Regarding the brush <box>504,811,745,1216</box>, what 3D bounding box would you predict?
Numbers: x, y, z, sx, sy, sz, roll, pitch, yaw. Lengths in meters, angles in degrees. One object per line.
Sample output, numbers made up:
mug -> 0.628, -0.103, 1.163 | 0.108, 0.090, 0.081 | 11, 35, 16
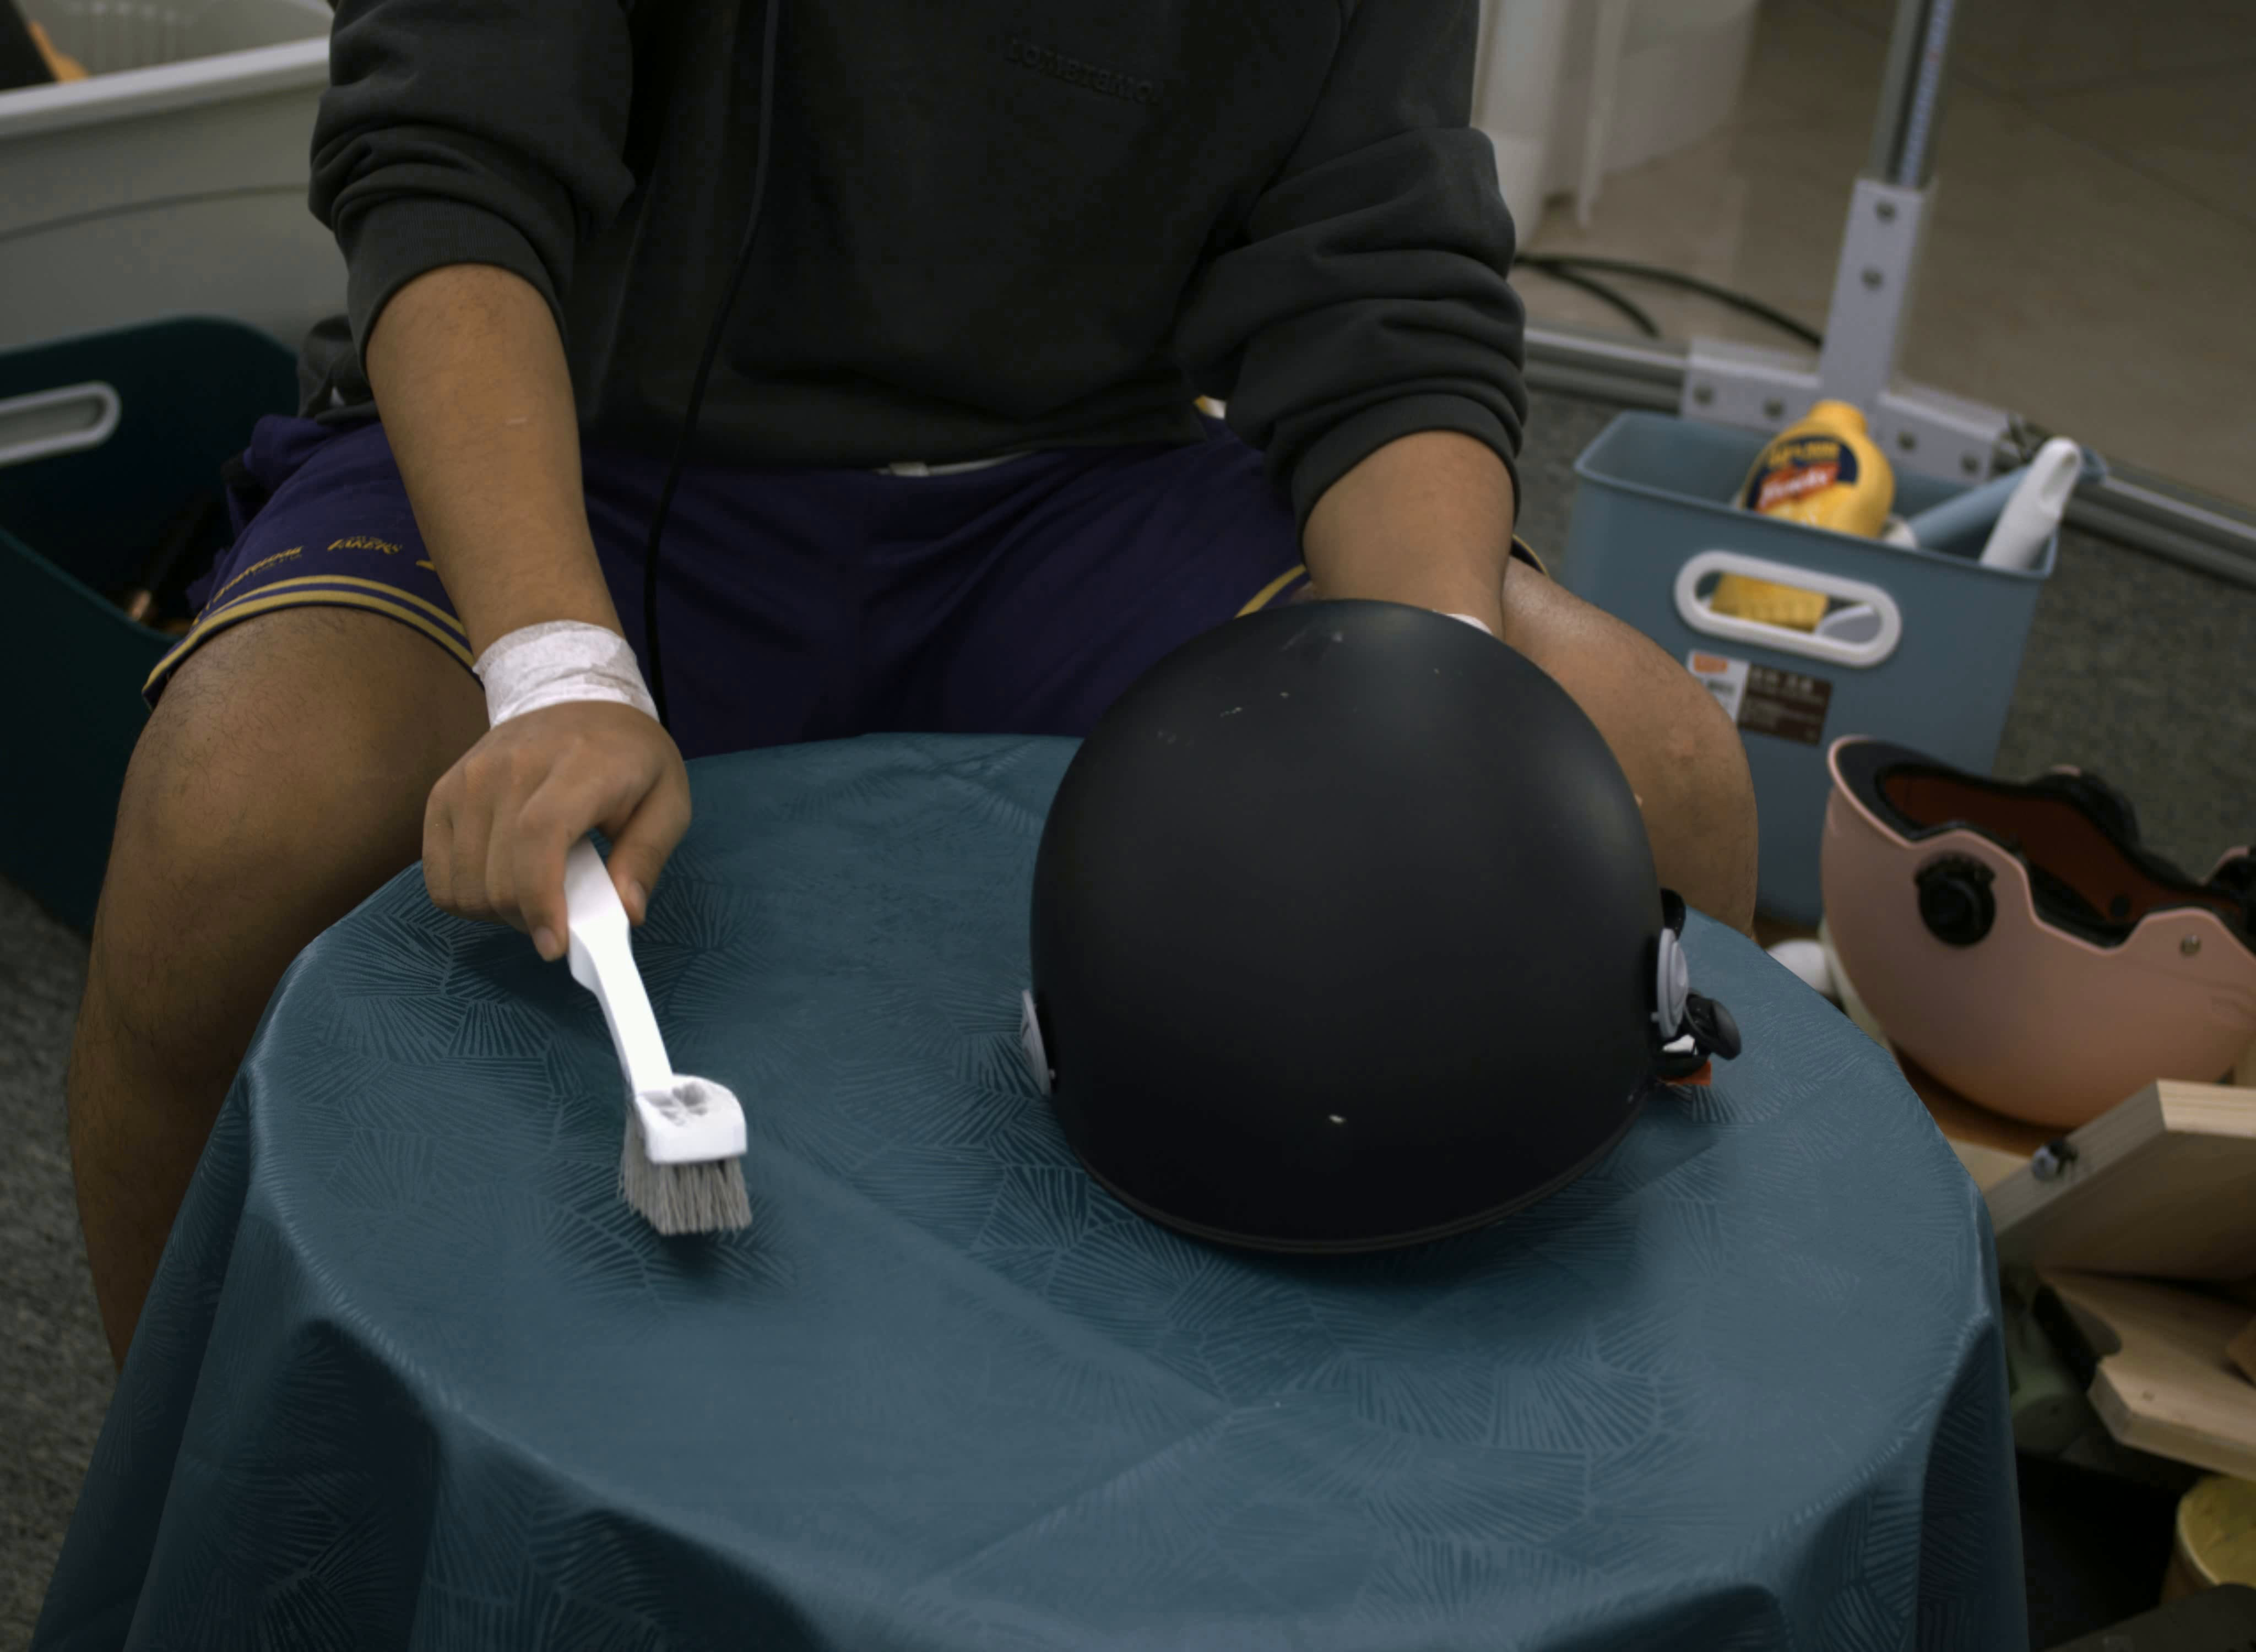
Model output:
brush -> -0.175, 0.065, 1.809 | 0.034, 0.050, 0.246 | -7, 28, -18

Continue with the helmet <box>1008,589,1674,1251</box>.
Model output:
helmet -> 0.070, 0.014, 1.838 | 0.230, 0.166, 0.274 | -6, 27, 8
